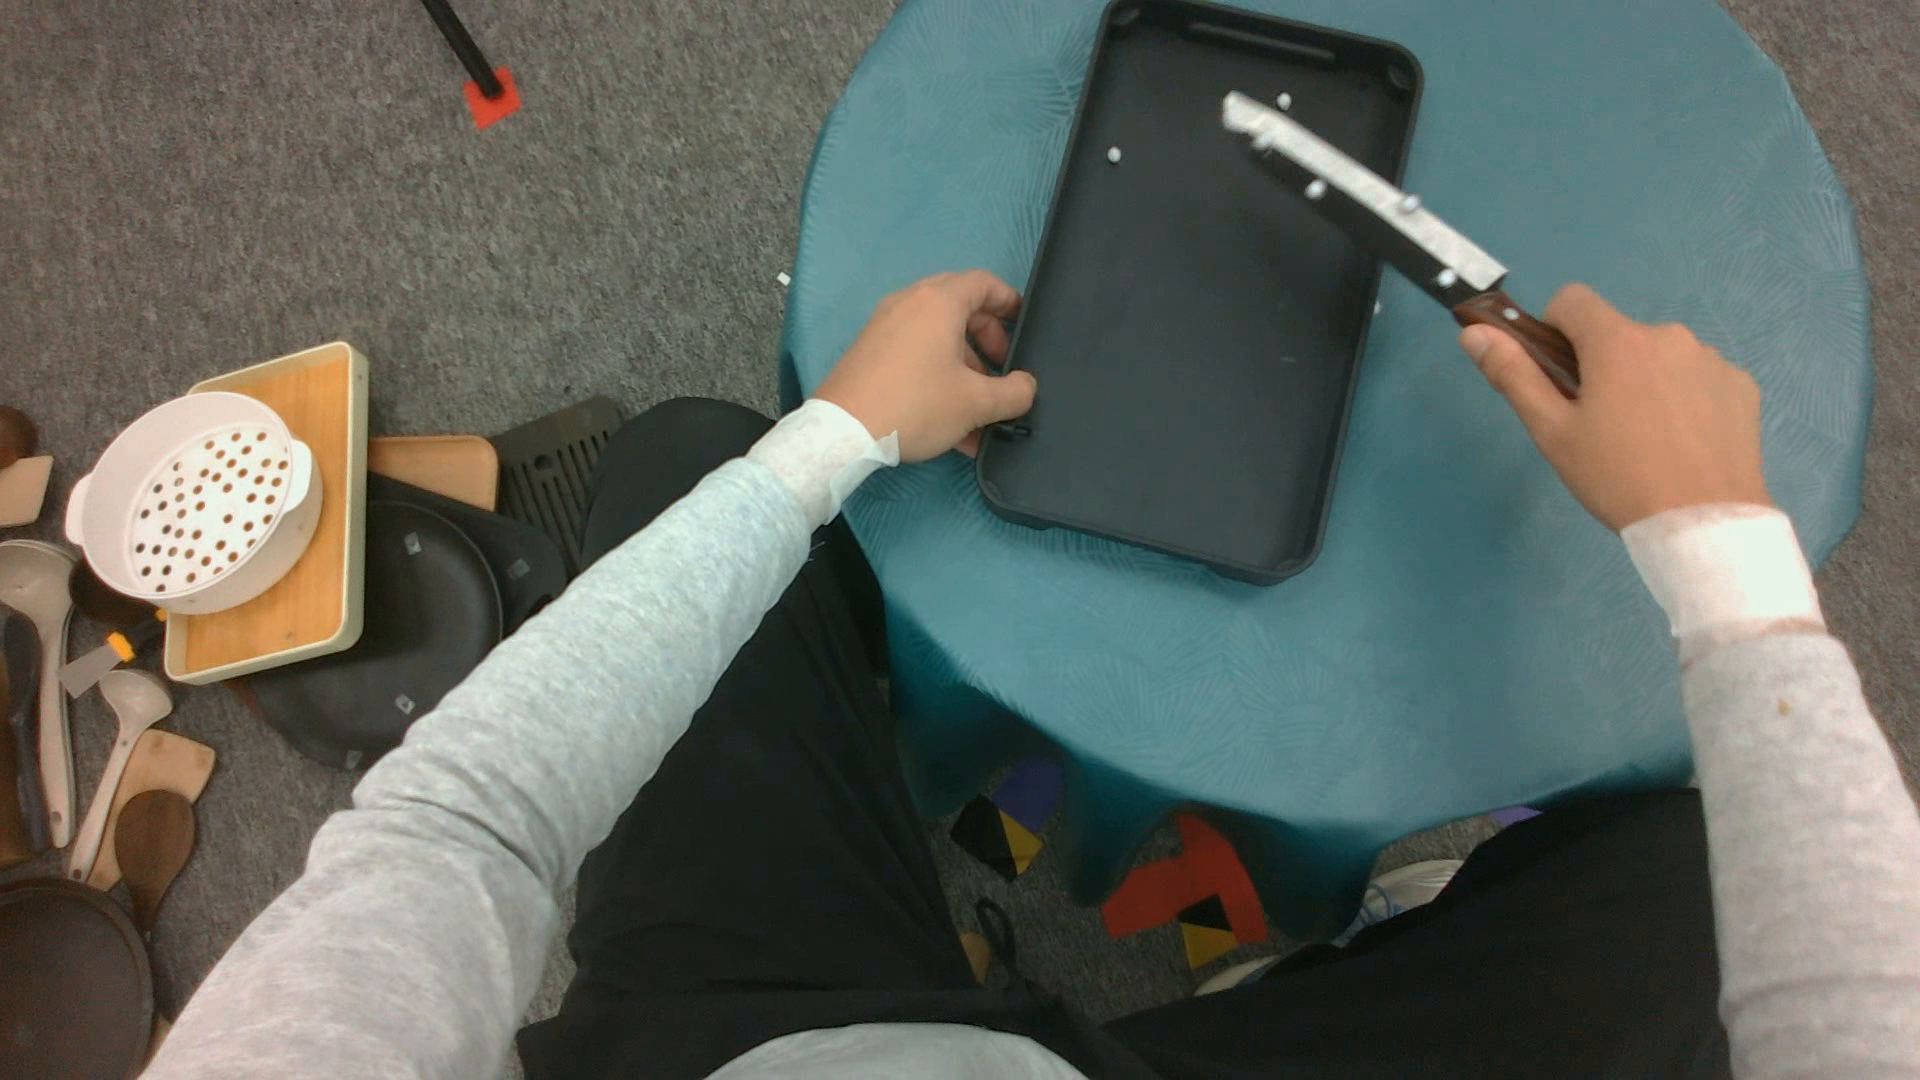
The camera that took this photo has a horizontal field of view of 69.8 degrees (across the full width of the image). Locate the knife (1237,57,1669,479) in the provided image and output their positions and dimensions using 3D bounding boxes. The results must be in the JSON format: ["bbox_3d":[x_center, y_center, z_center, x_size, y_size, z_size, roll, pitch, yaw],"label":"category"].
[{"bbox_3d":[0.232,-0.140,0.668,0.050,0.020,0.289,-32,73,-28],"label":"knife"}]

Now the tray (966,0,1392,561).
[{"bbox_3d":[0.123,-0.155,0.756,0.184,0.037,0.318,12,76,3],"label":"tray"}]
